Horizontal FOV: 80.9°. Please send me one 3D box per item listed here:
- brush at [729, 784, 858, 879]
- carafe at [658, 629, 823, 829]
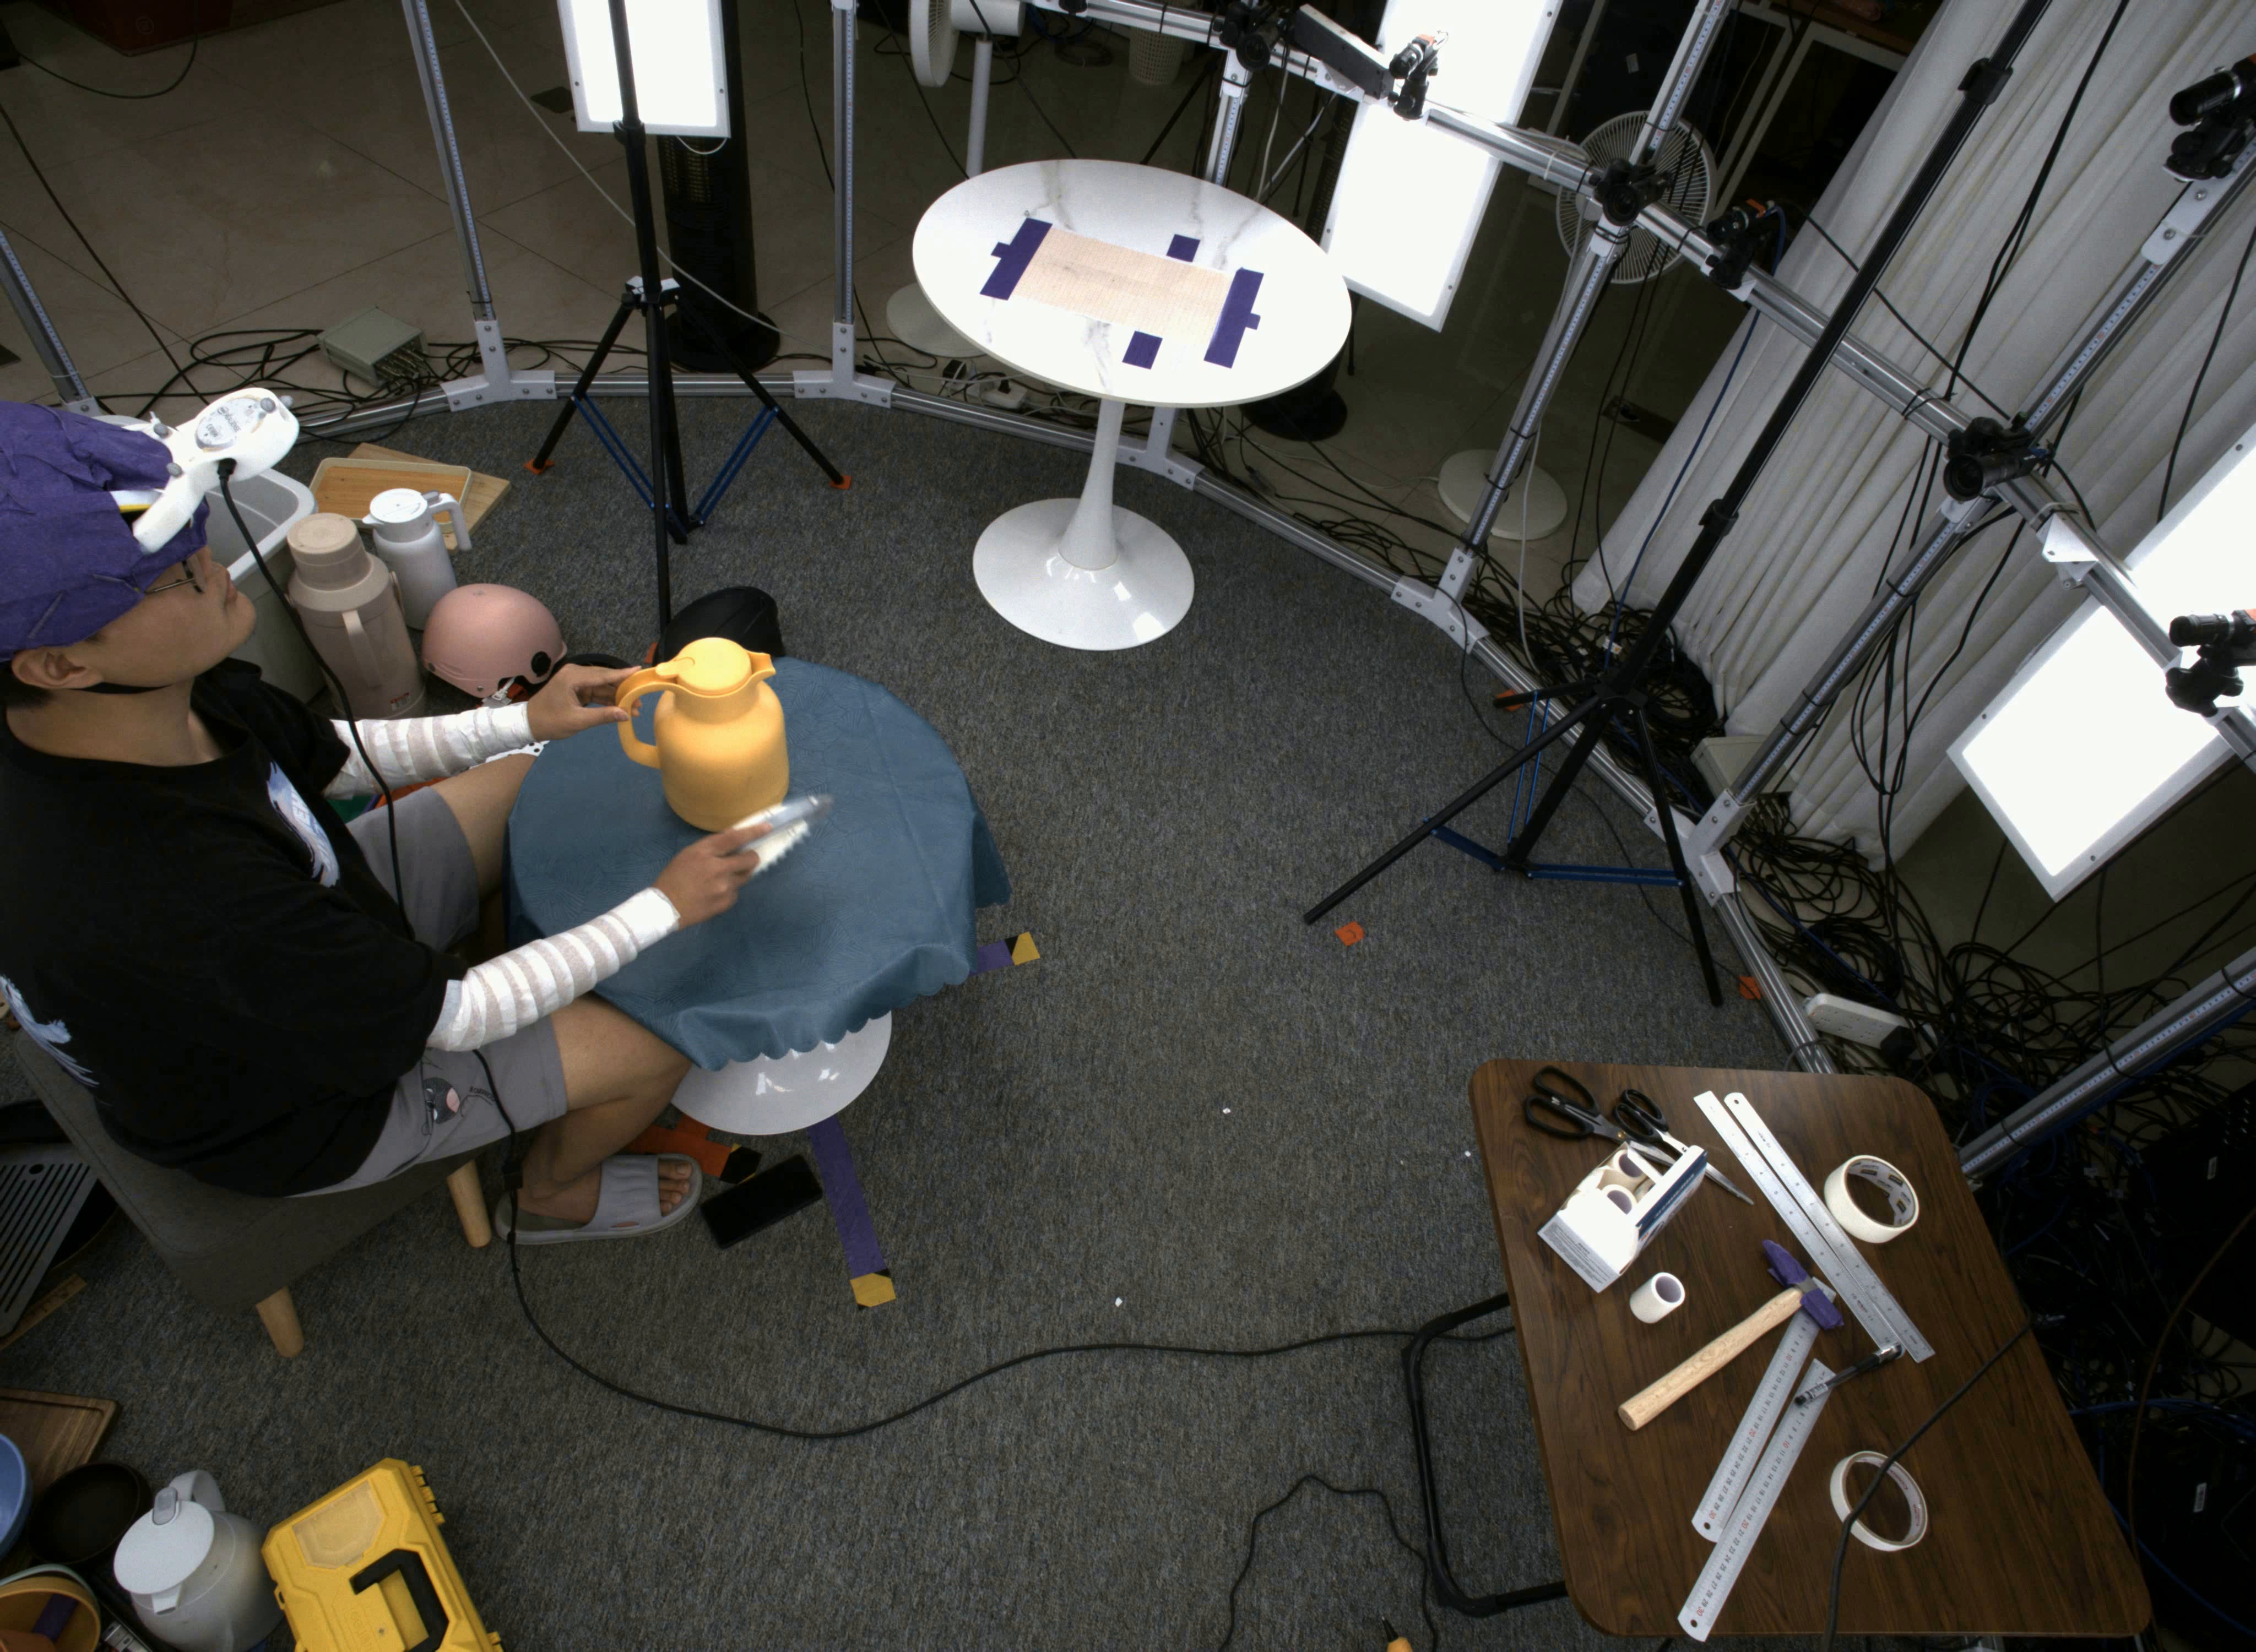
[{"bbox_3d":[-0.408,-0.001,1.571,0.174,0.094,0.062,-33,92,2],"label":"brush"},{"bbox_3d":[-0.492,-0.128,1.645,0.203,0.266,0.159,-5,52,-17],"label":"carafe"}]
